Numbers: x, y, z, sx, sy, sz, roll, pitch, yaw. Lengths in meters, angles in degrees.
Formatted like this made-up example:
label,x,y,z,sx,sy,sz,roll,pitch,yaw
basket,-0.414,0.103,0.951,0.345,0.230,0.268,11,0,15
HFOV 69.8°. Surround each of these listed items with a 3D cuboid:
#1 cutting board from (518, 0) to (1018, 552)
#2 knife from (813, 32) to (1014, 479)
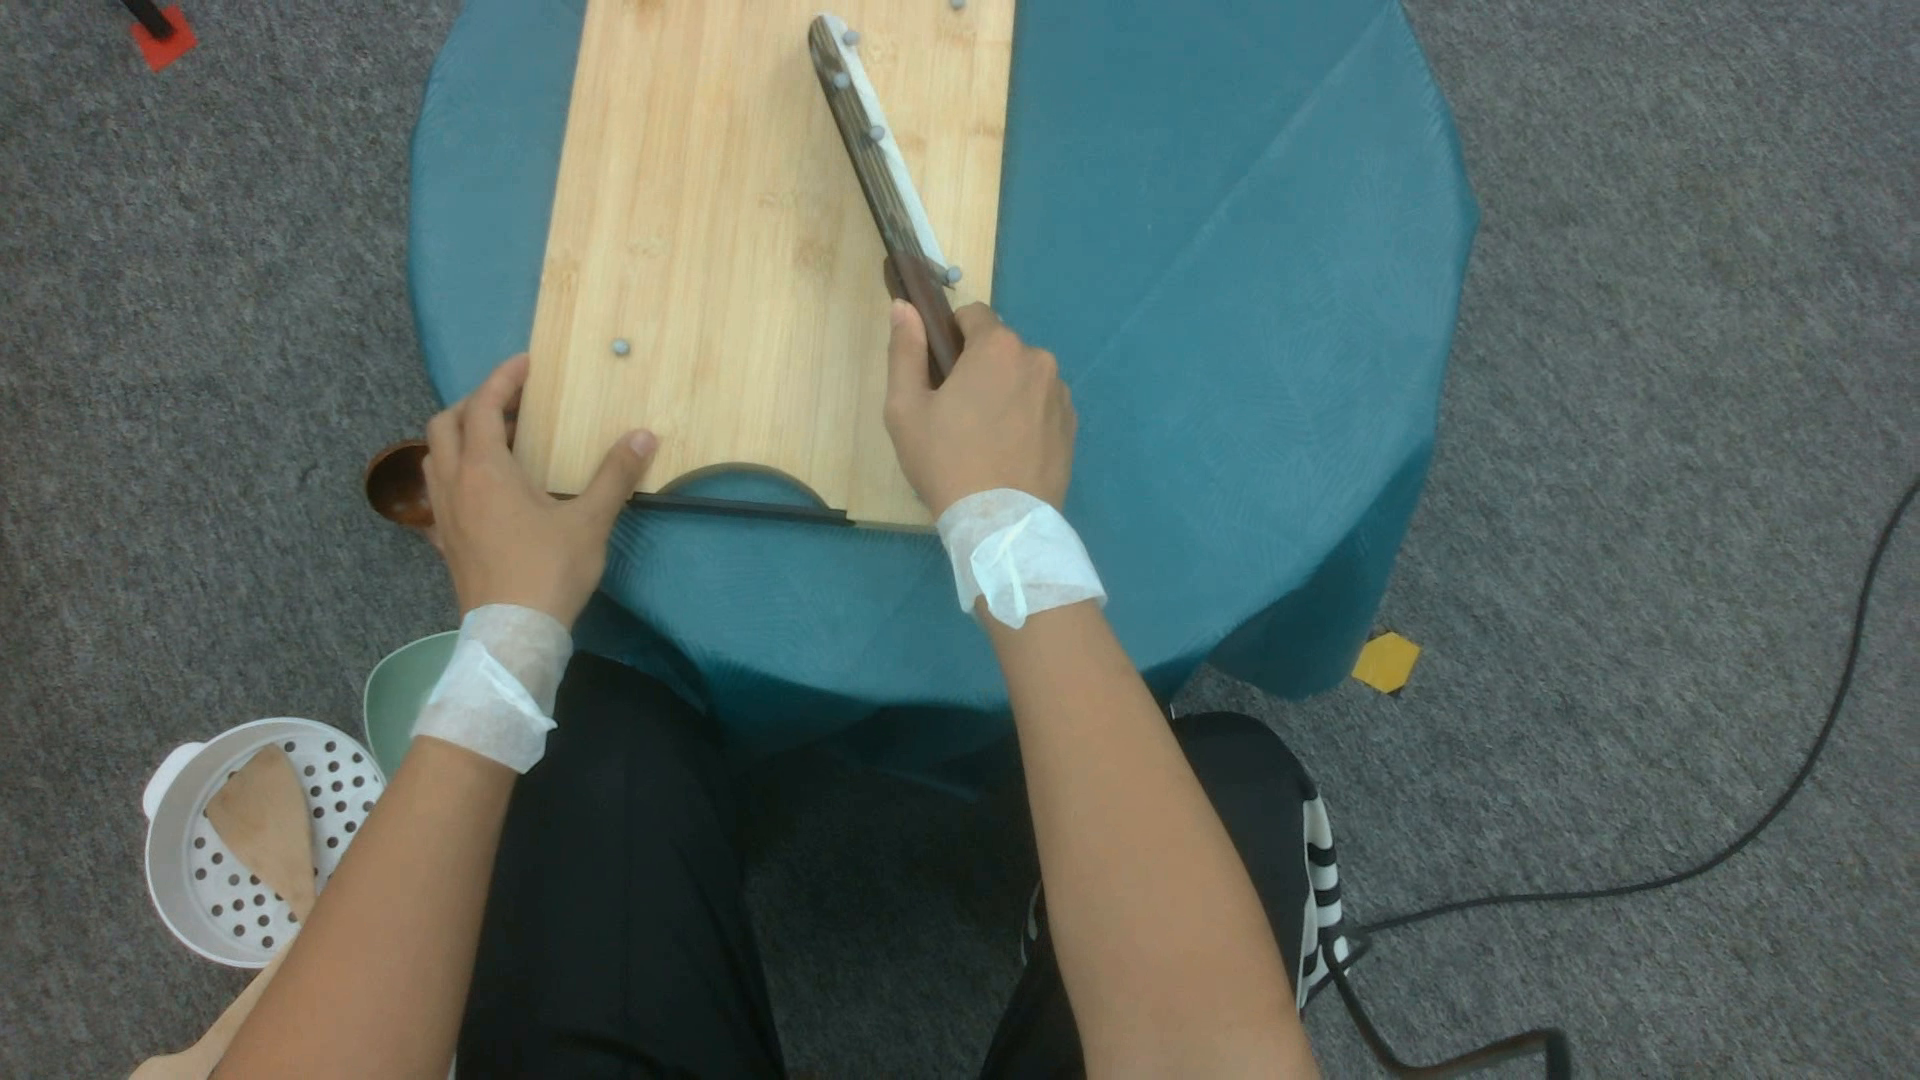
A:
label,x,y,z,sx,sy,sz,roll,pitch,yaw
cutting board,-0.099,-0.170,0.778,0.251,0.023,0.349,4,75,-2
knife,-0.025,-0.162,0.733,0.024,0.068,0.300,-31,70,25
